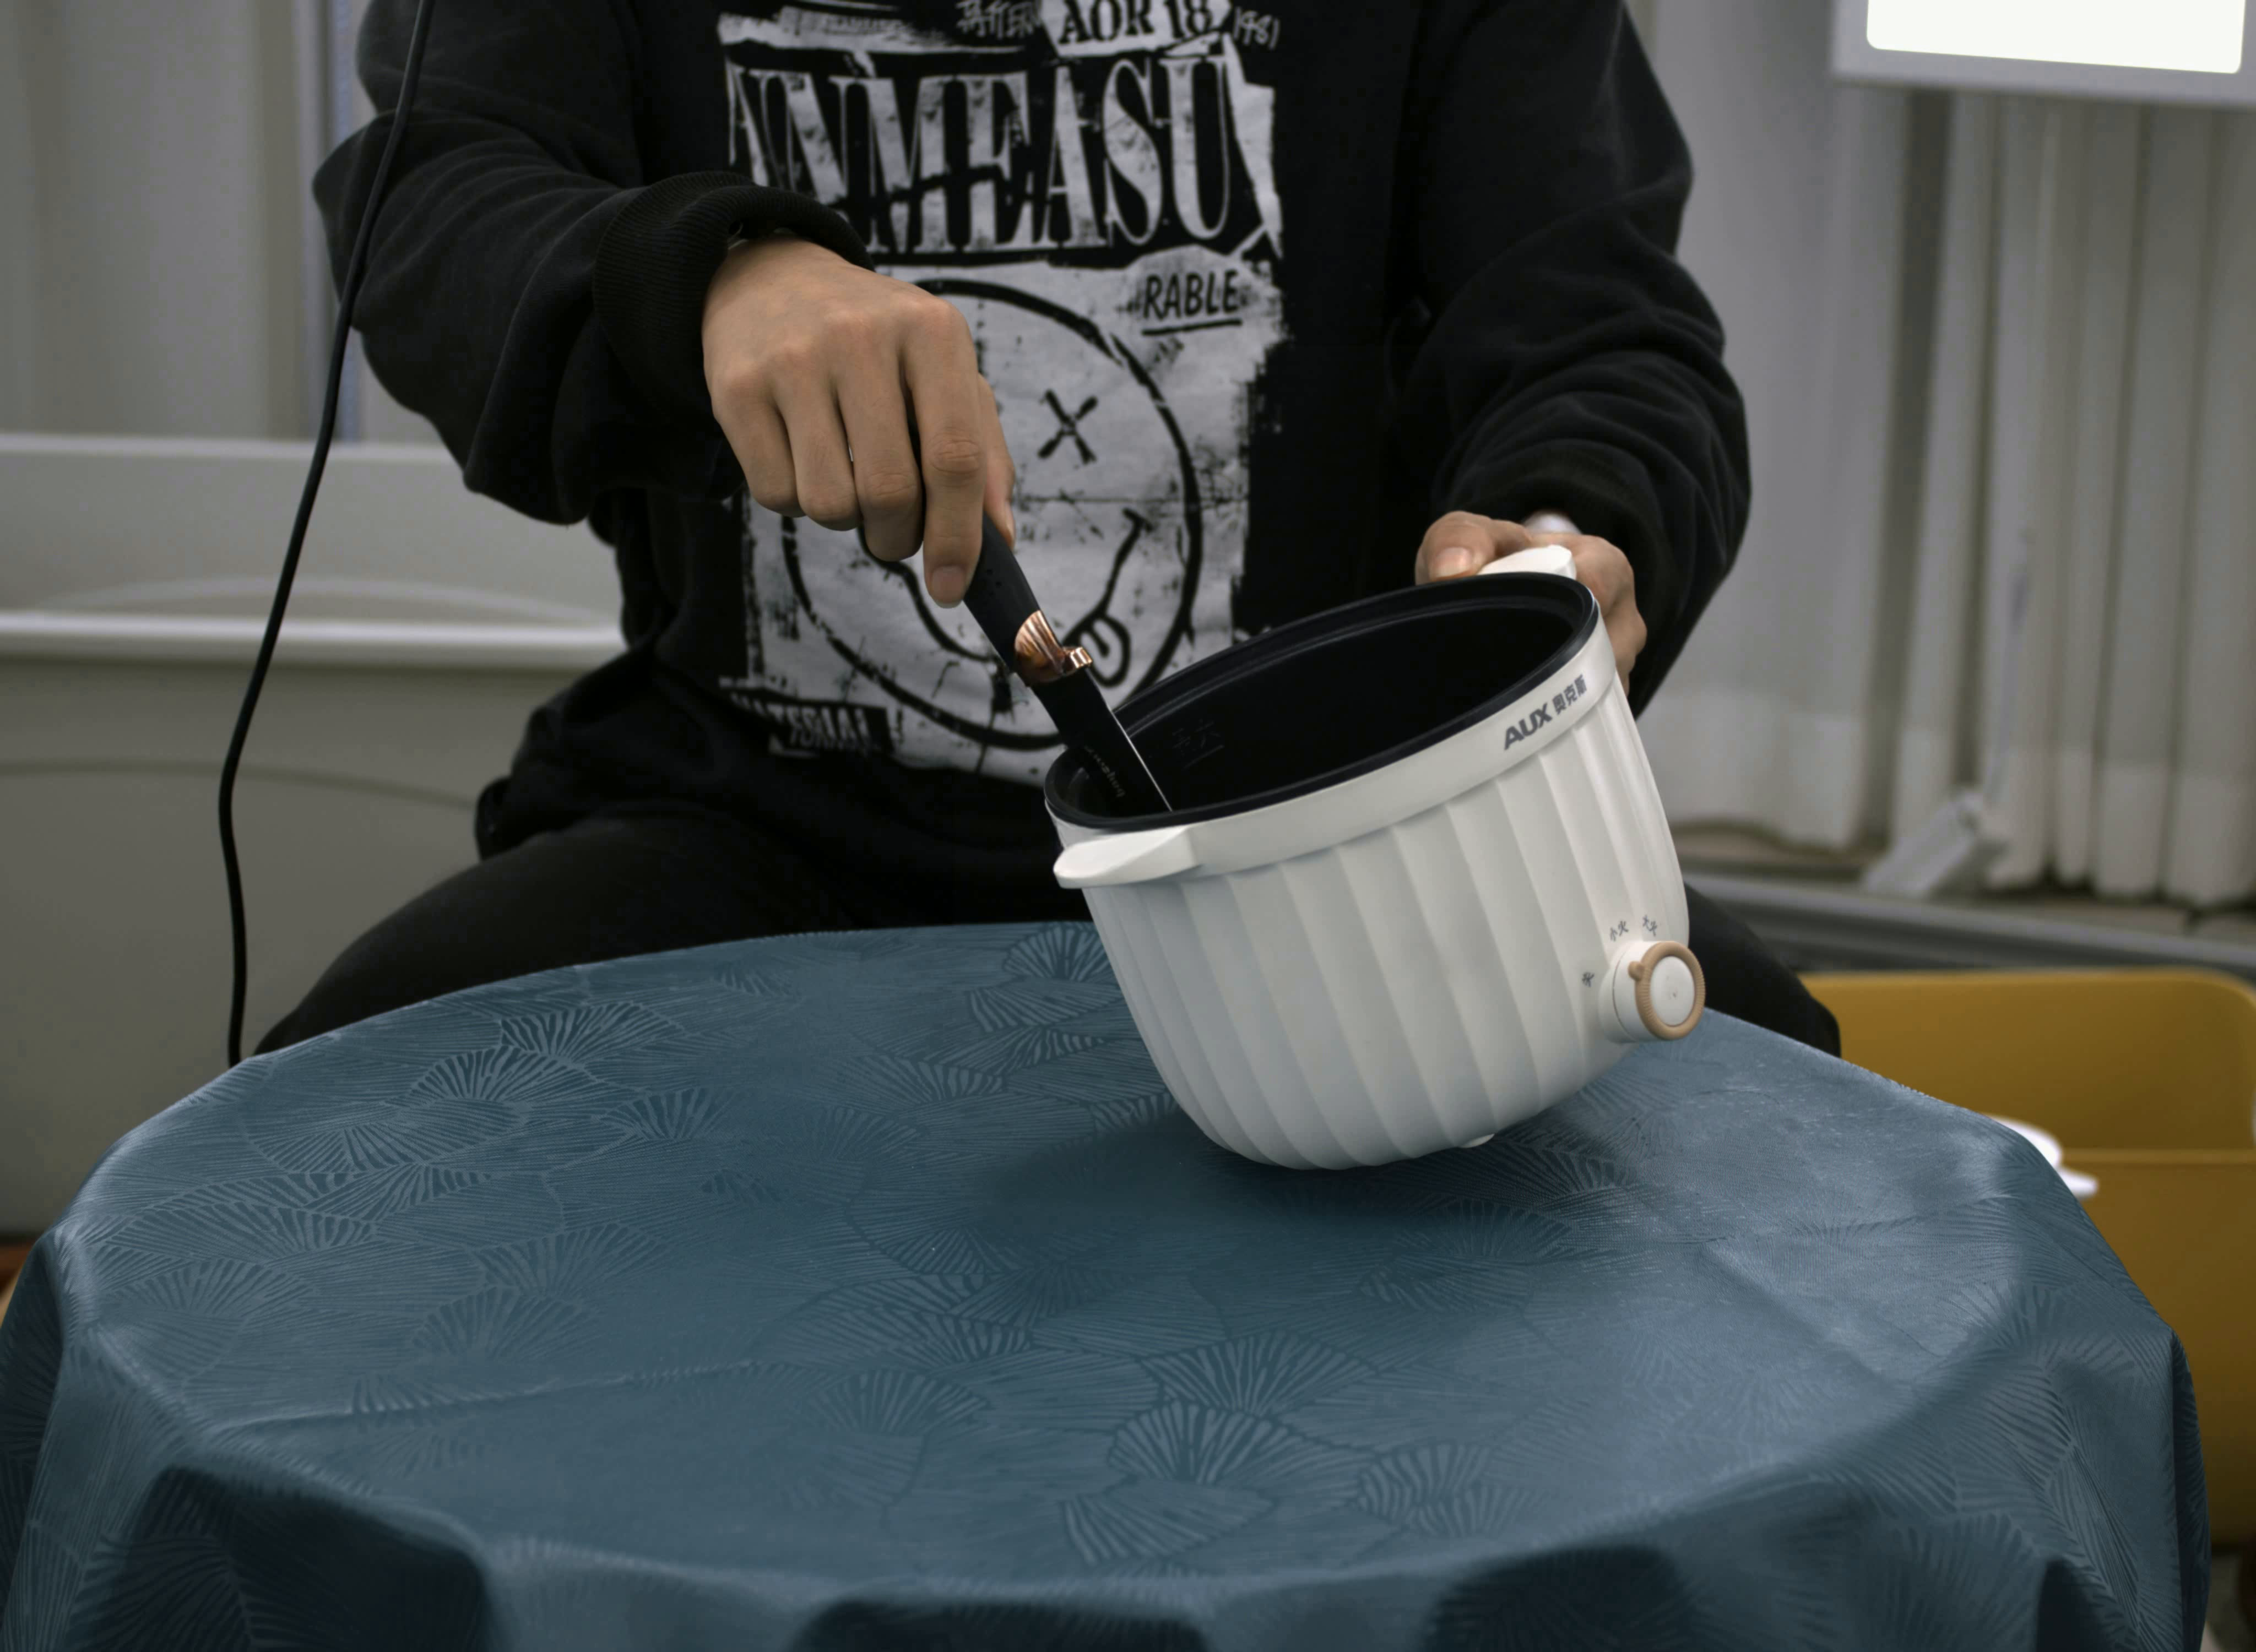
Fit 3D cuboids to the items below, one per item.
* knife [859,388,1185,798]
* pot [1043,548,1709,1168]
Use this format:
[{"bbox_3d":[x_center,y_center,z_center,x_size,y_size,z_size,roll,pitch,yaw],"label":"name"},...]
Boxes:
[{"bbox_3d":[-0.018,-0.044,1.648,0.026,0.225,0.017,-36,-6,26],"label":"knife"},{"bbox_3d":[0.086,0.017,1.640,0.188,0.144,0.240,-8,21,46],"label":"pot"}]
